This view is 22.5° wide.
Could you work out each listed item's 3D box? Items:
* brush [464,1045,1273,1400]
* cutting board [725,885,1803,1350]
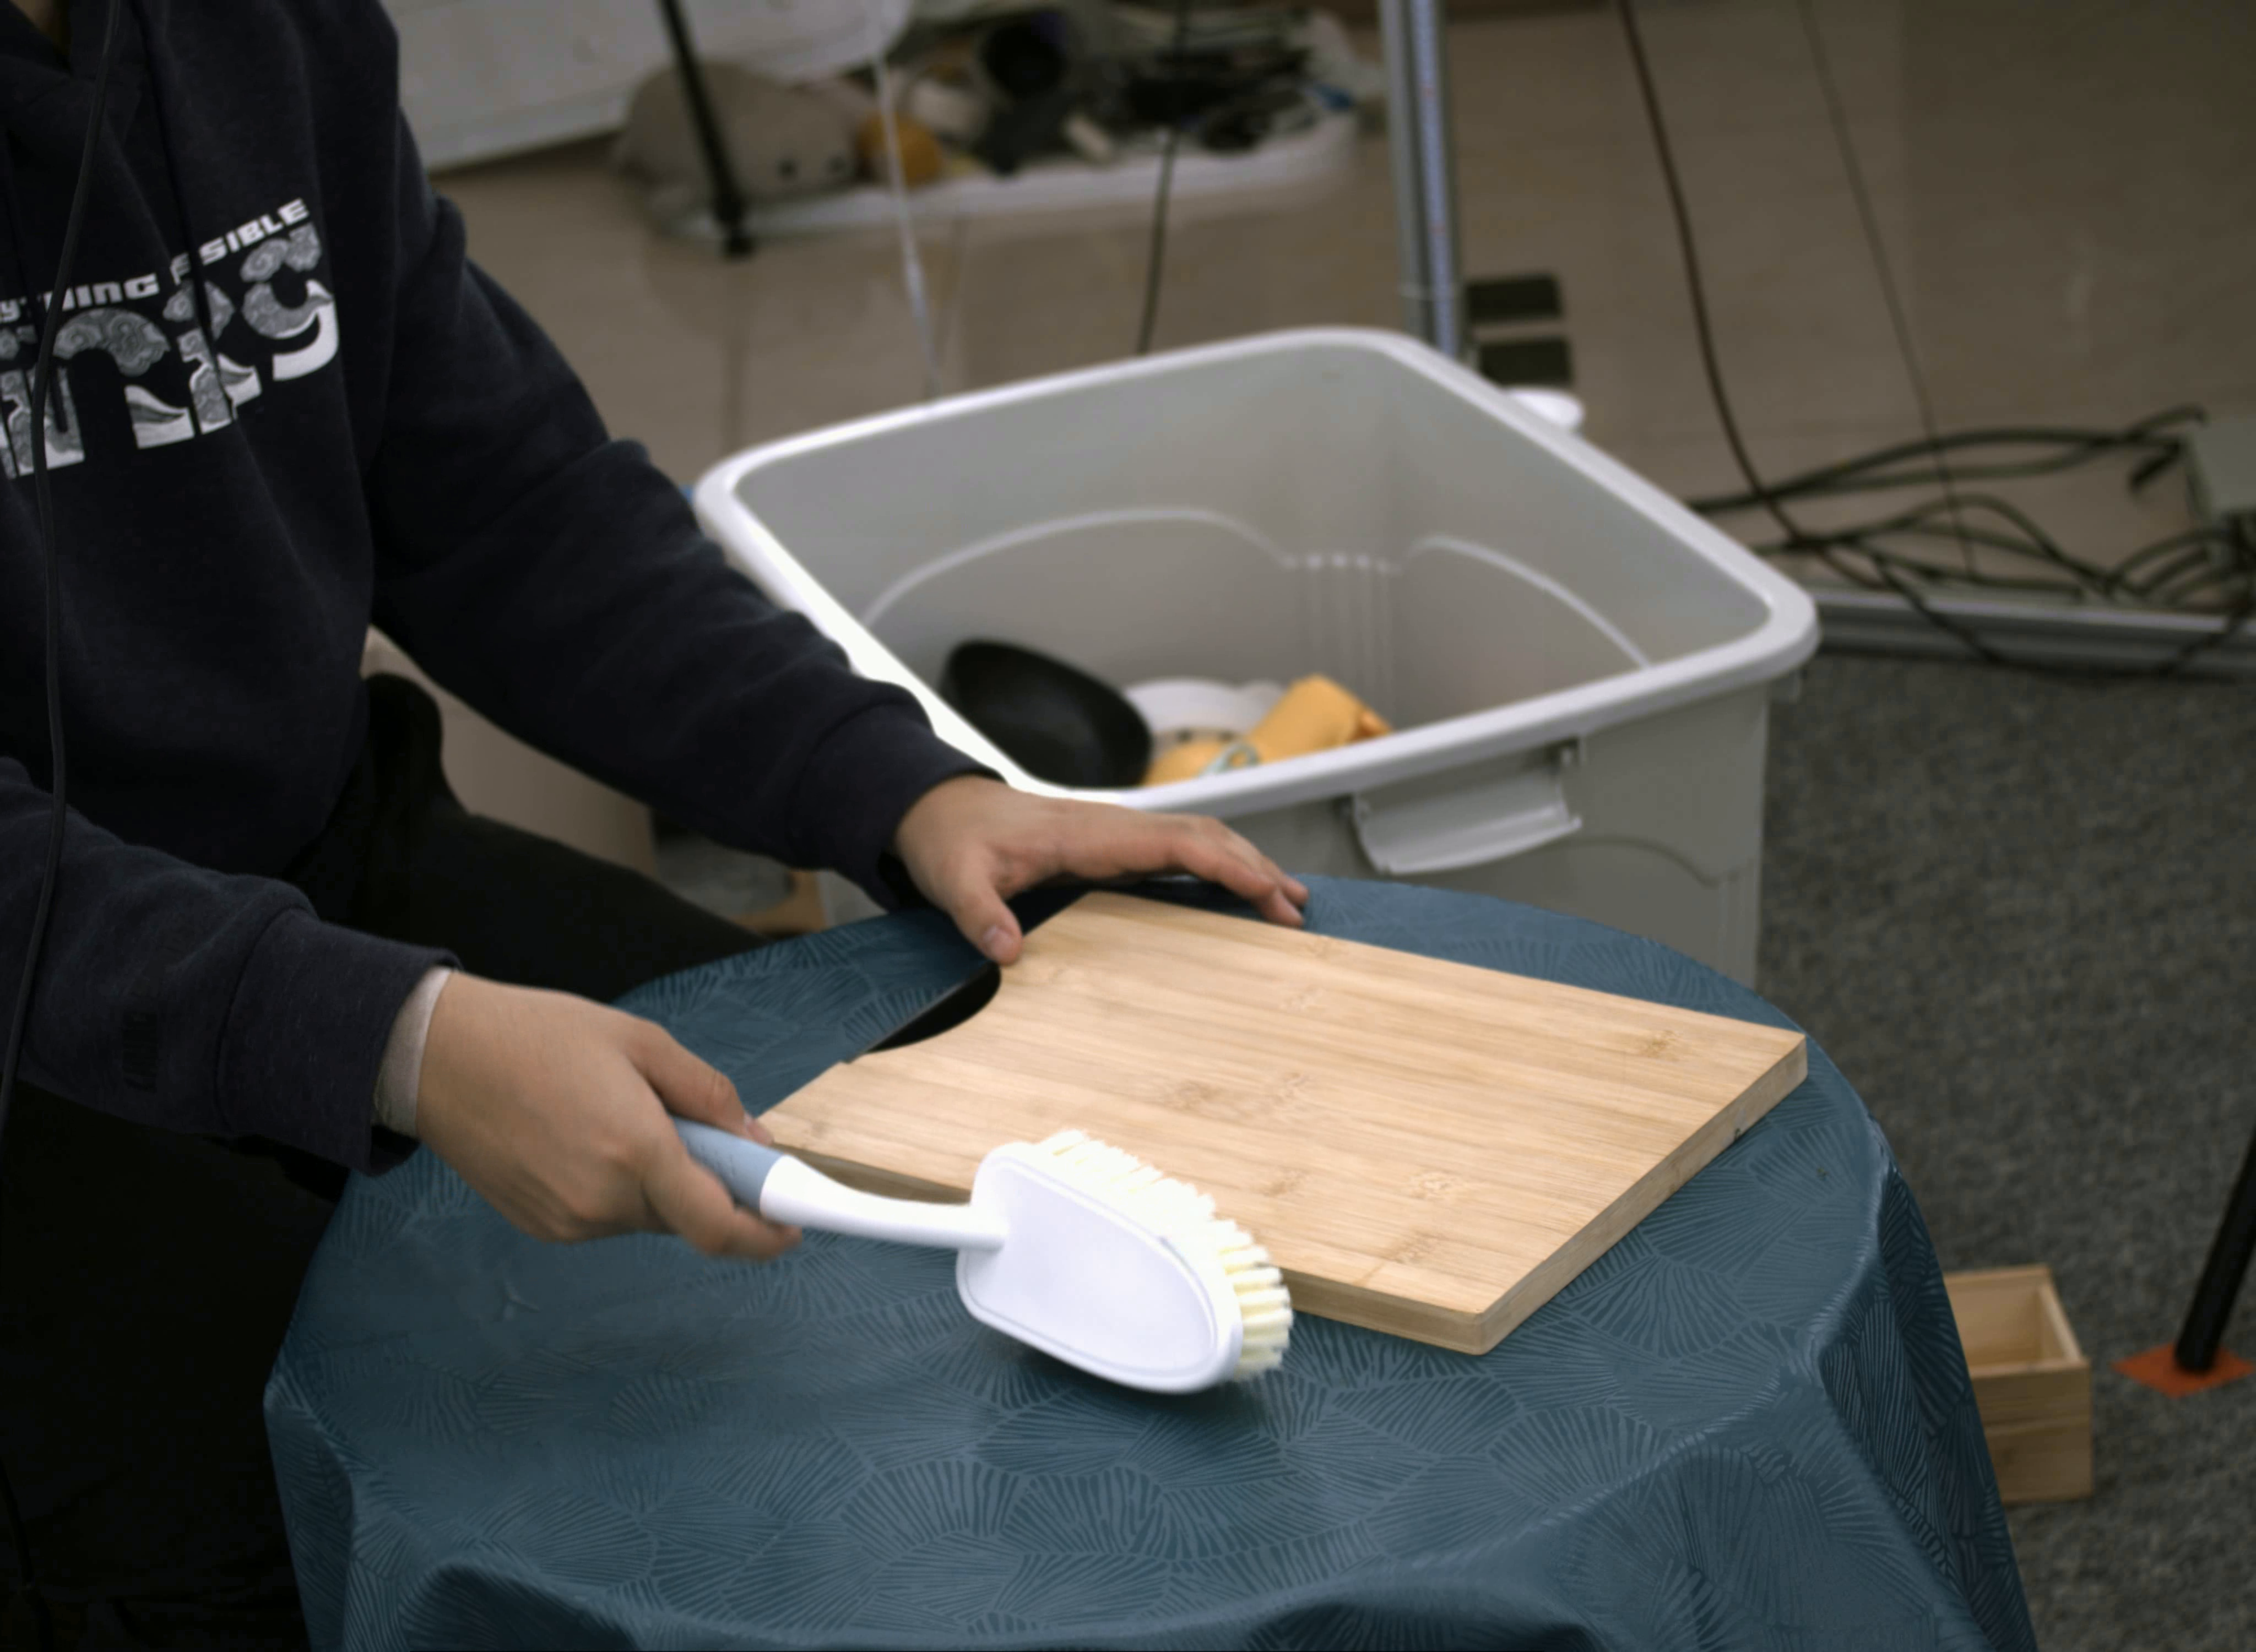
[{"bbox_3d":[-0.089,0.126,2.046,0.323,0.085,0.082,19,76,22],"label":"brush"},{"bbox_3d":[0.051,0.106,2.187,0.347,0.024,0.248,11,29,33],"label":"cutting board"}]
